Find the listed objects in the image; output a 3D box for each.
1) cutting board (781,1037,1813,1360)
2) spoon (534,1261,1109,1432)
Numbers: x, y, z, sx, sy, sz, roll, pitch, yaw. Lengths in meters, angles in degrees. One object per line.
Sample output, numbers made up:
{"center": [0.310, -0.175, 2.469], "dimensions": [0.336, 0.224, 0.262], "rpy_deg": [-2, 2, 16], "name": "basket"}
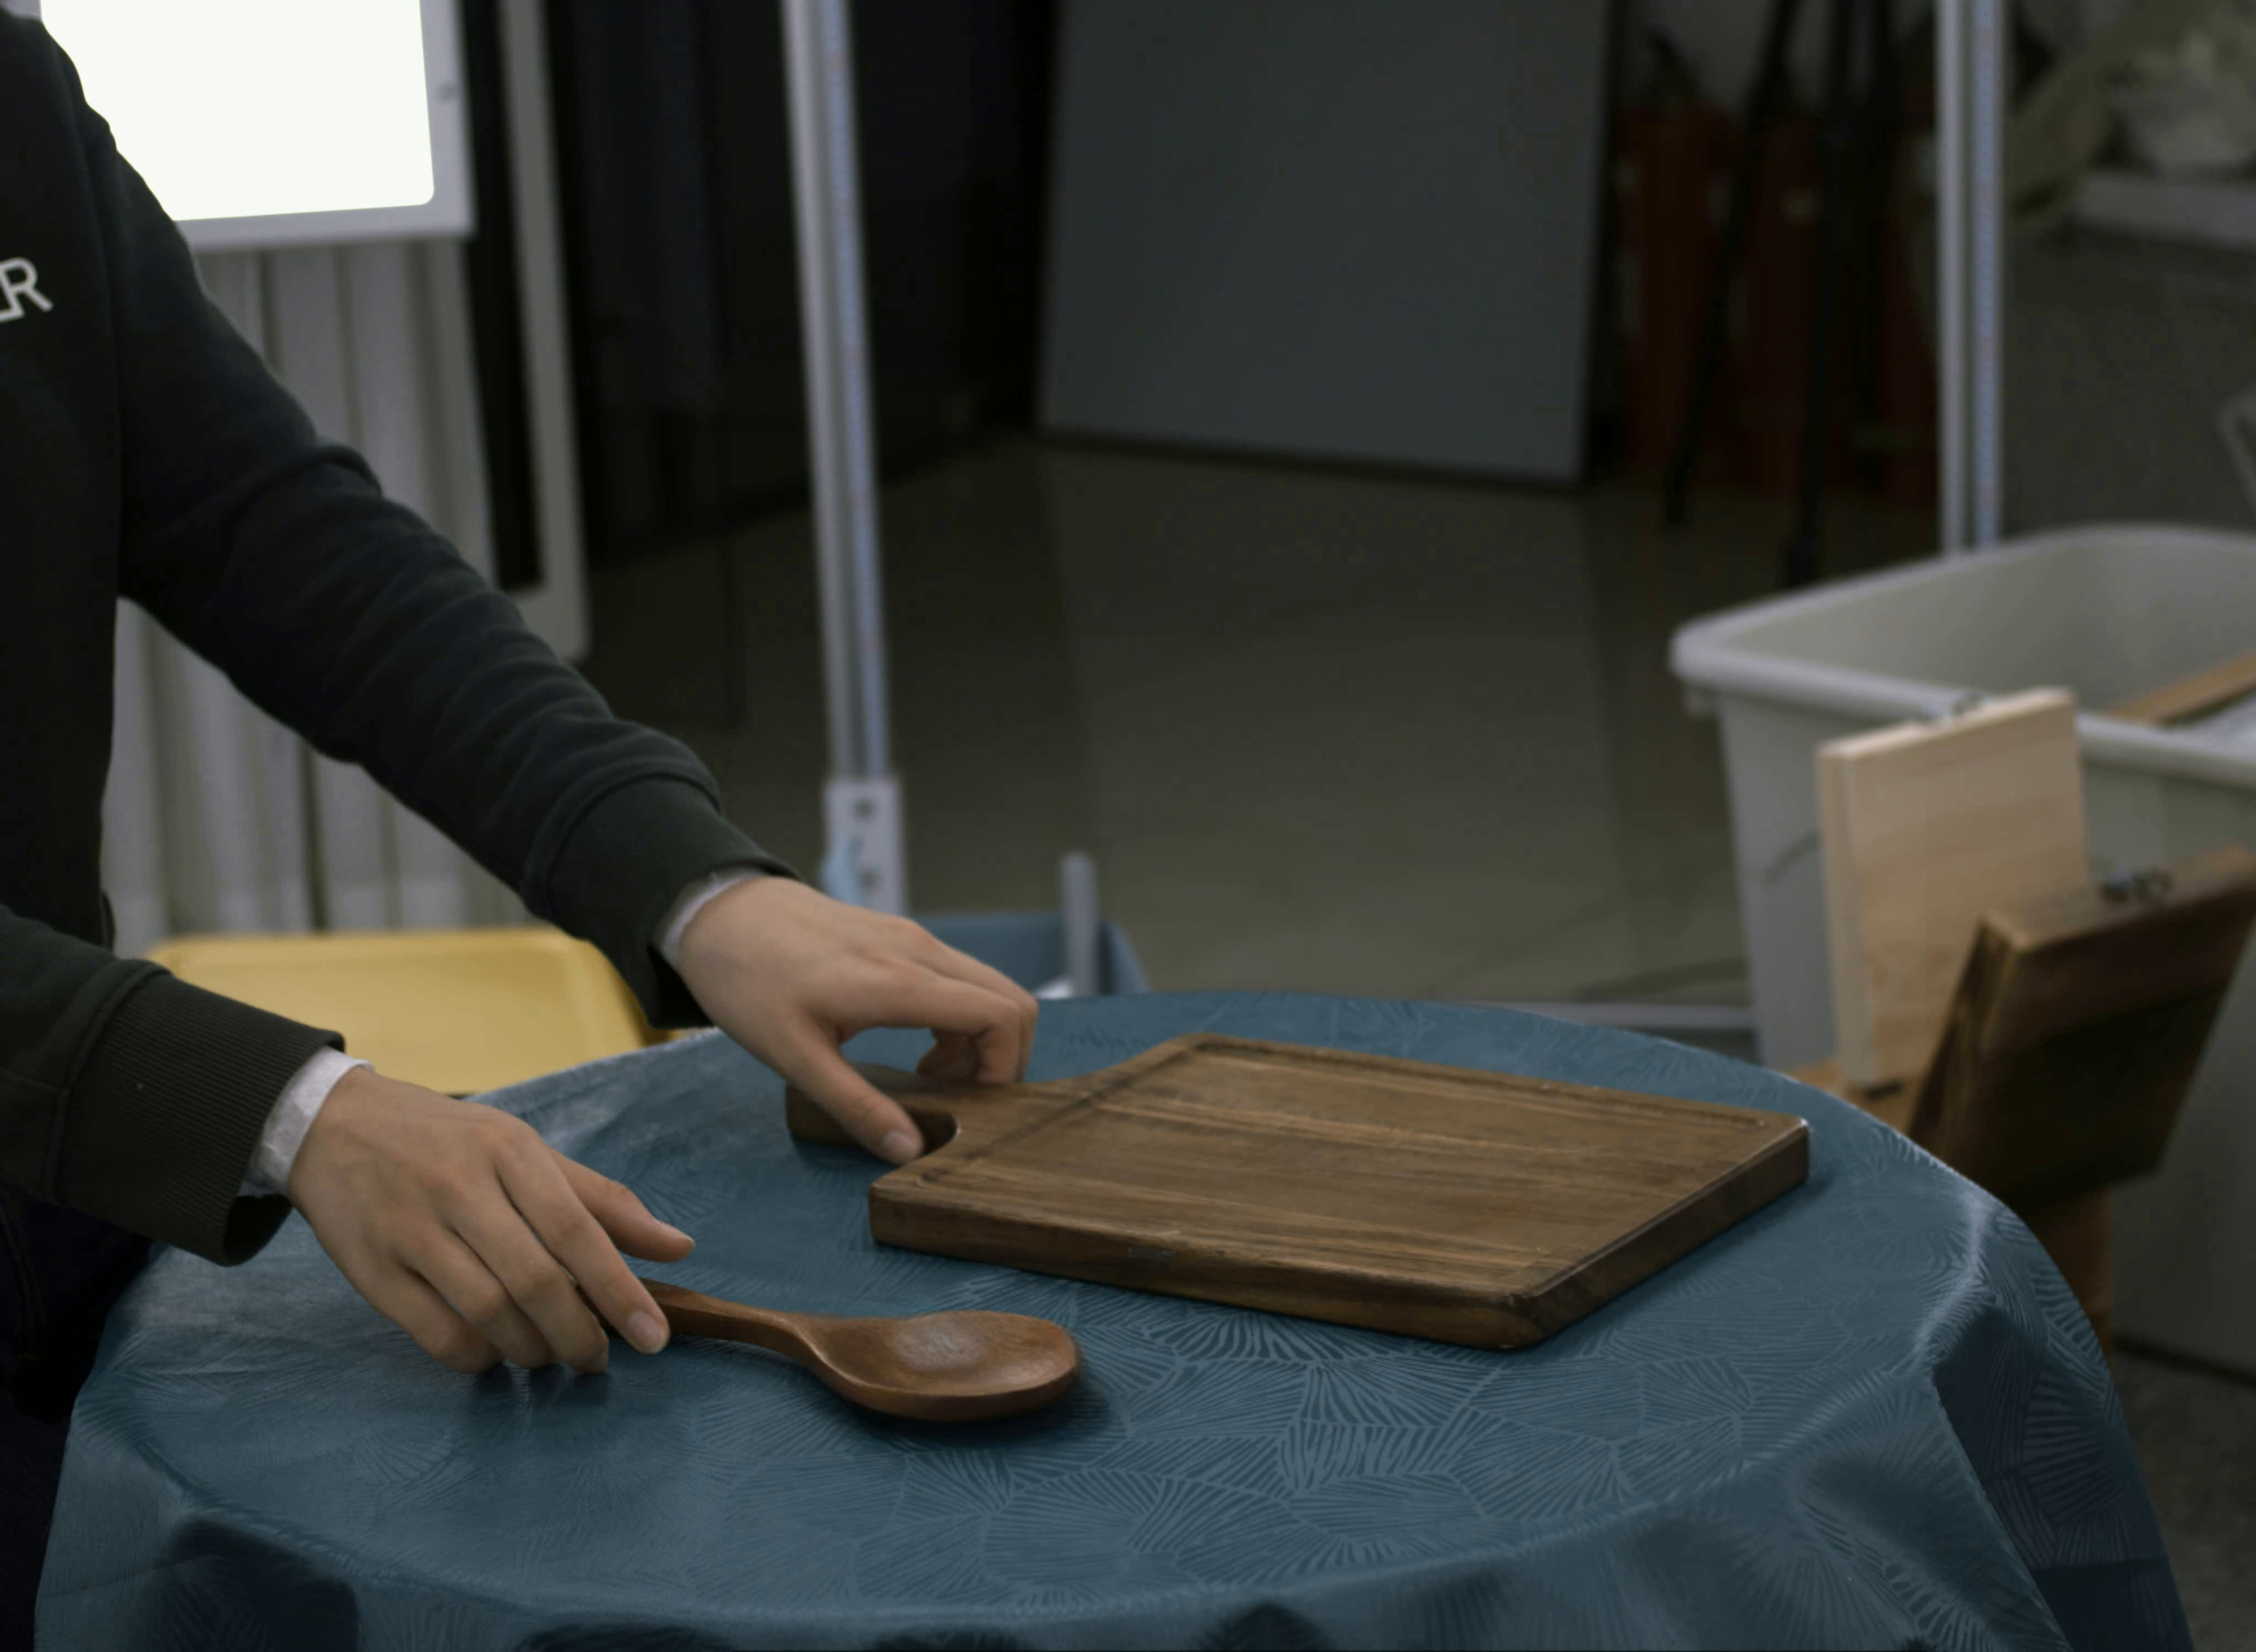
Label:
{"center": [0.030, 0.112, 1.765], "dimensions": [0.354, 0.023, 0.197], "rpy_deg": [6, 18, 35], "name": "cutting board"}
{"center": [-0.097, 0.155, 1.626], "dimensions": [0.217, 0.017, 0.074], "rpy_deg": [8, 20, 38], "name": "spoon"}
